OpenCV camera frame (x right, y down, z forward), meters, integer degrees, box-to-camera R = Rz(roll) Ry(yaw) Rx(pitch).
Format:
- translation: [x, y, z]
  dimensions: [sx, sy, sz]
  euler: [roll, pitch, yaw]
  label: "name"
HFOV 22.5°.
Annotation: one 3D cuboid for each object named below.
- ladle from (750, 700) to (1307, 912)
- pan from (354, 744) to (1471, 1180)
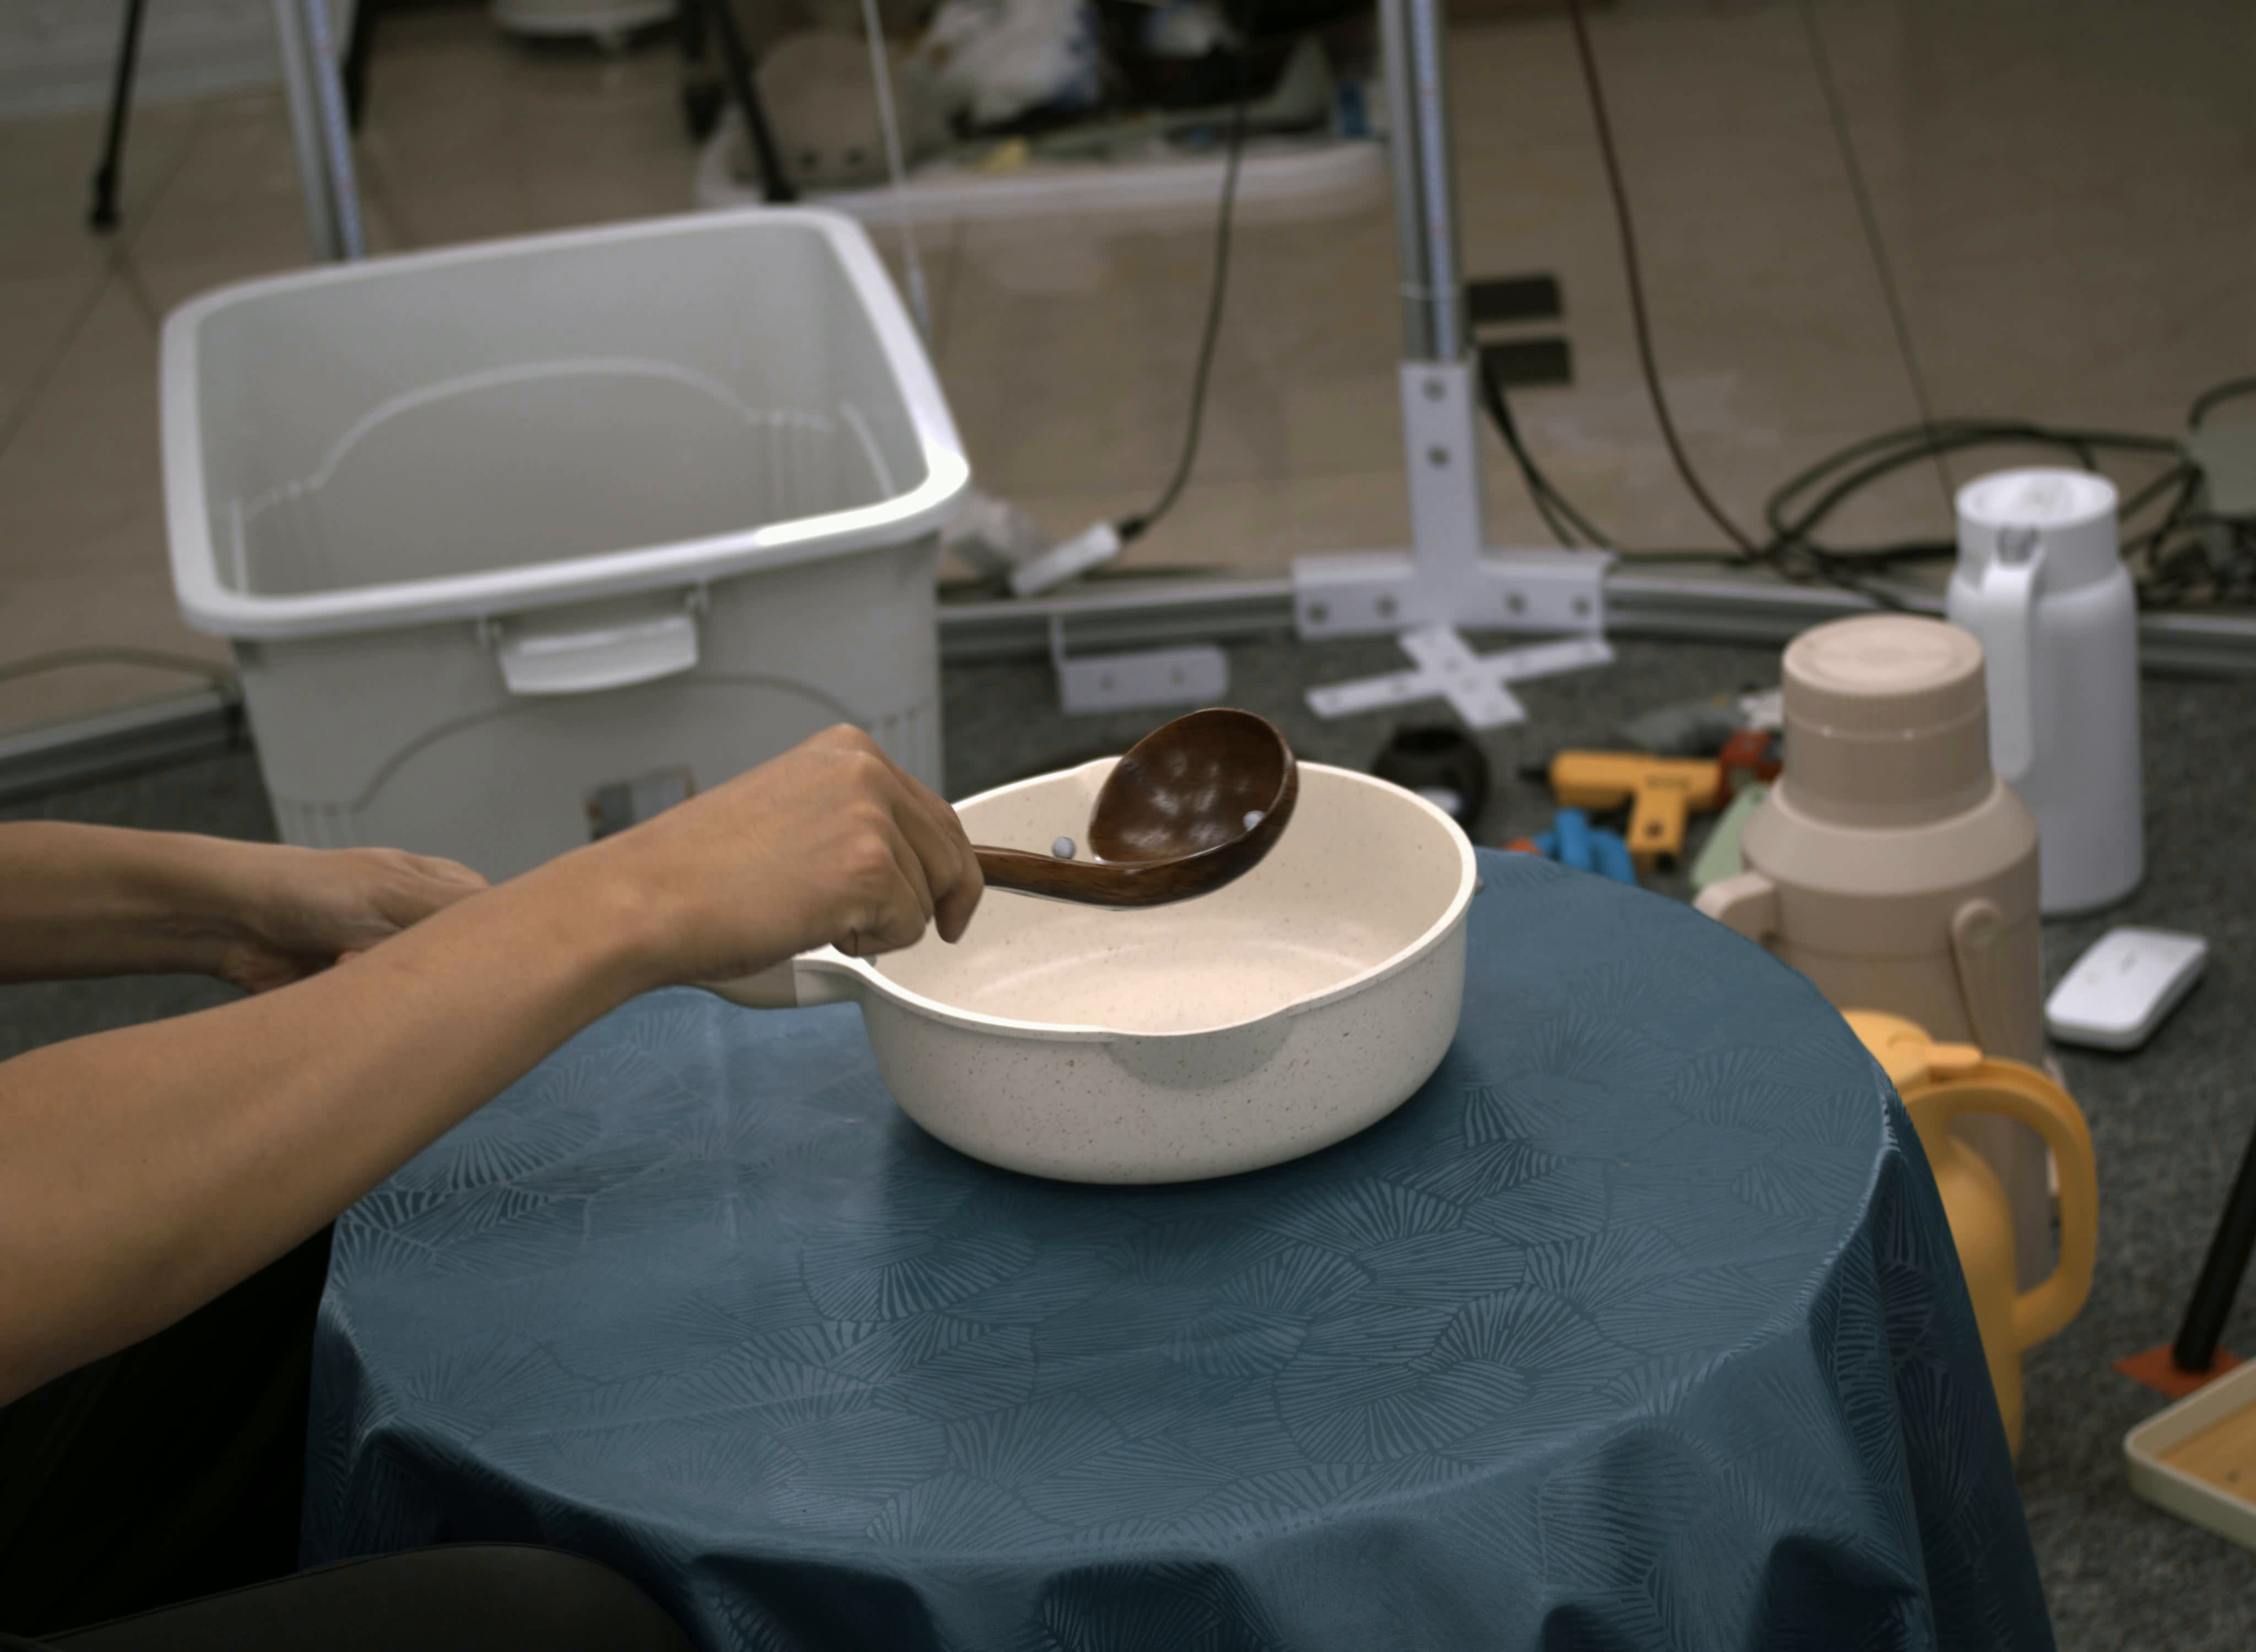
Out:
- translation: [-0.034, -0.010, 1.937]
  dimensions: [0.082, 0.076, 0.274]
  euler: [-8, -6, 36]
  label: "ladle"
- translation: [-0.079, 0.063, 2.215]
  dimensions: [0.434, 0.103, 0.259]
  euler: [-9, 26, -5]
  label: "pan"
